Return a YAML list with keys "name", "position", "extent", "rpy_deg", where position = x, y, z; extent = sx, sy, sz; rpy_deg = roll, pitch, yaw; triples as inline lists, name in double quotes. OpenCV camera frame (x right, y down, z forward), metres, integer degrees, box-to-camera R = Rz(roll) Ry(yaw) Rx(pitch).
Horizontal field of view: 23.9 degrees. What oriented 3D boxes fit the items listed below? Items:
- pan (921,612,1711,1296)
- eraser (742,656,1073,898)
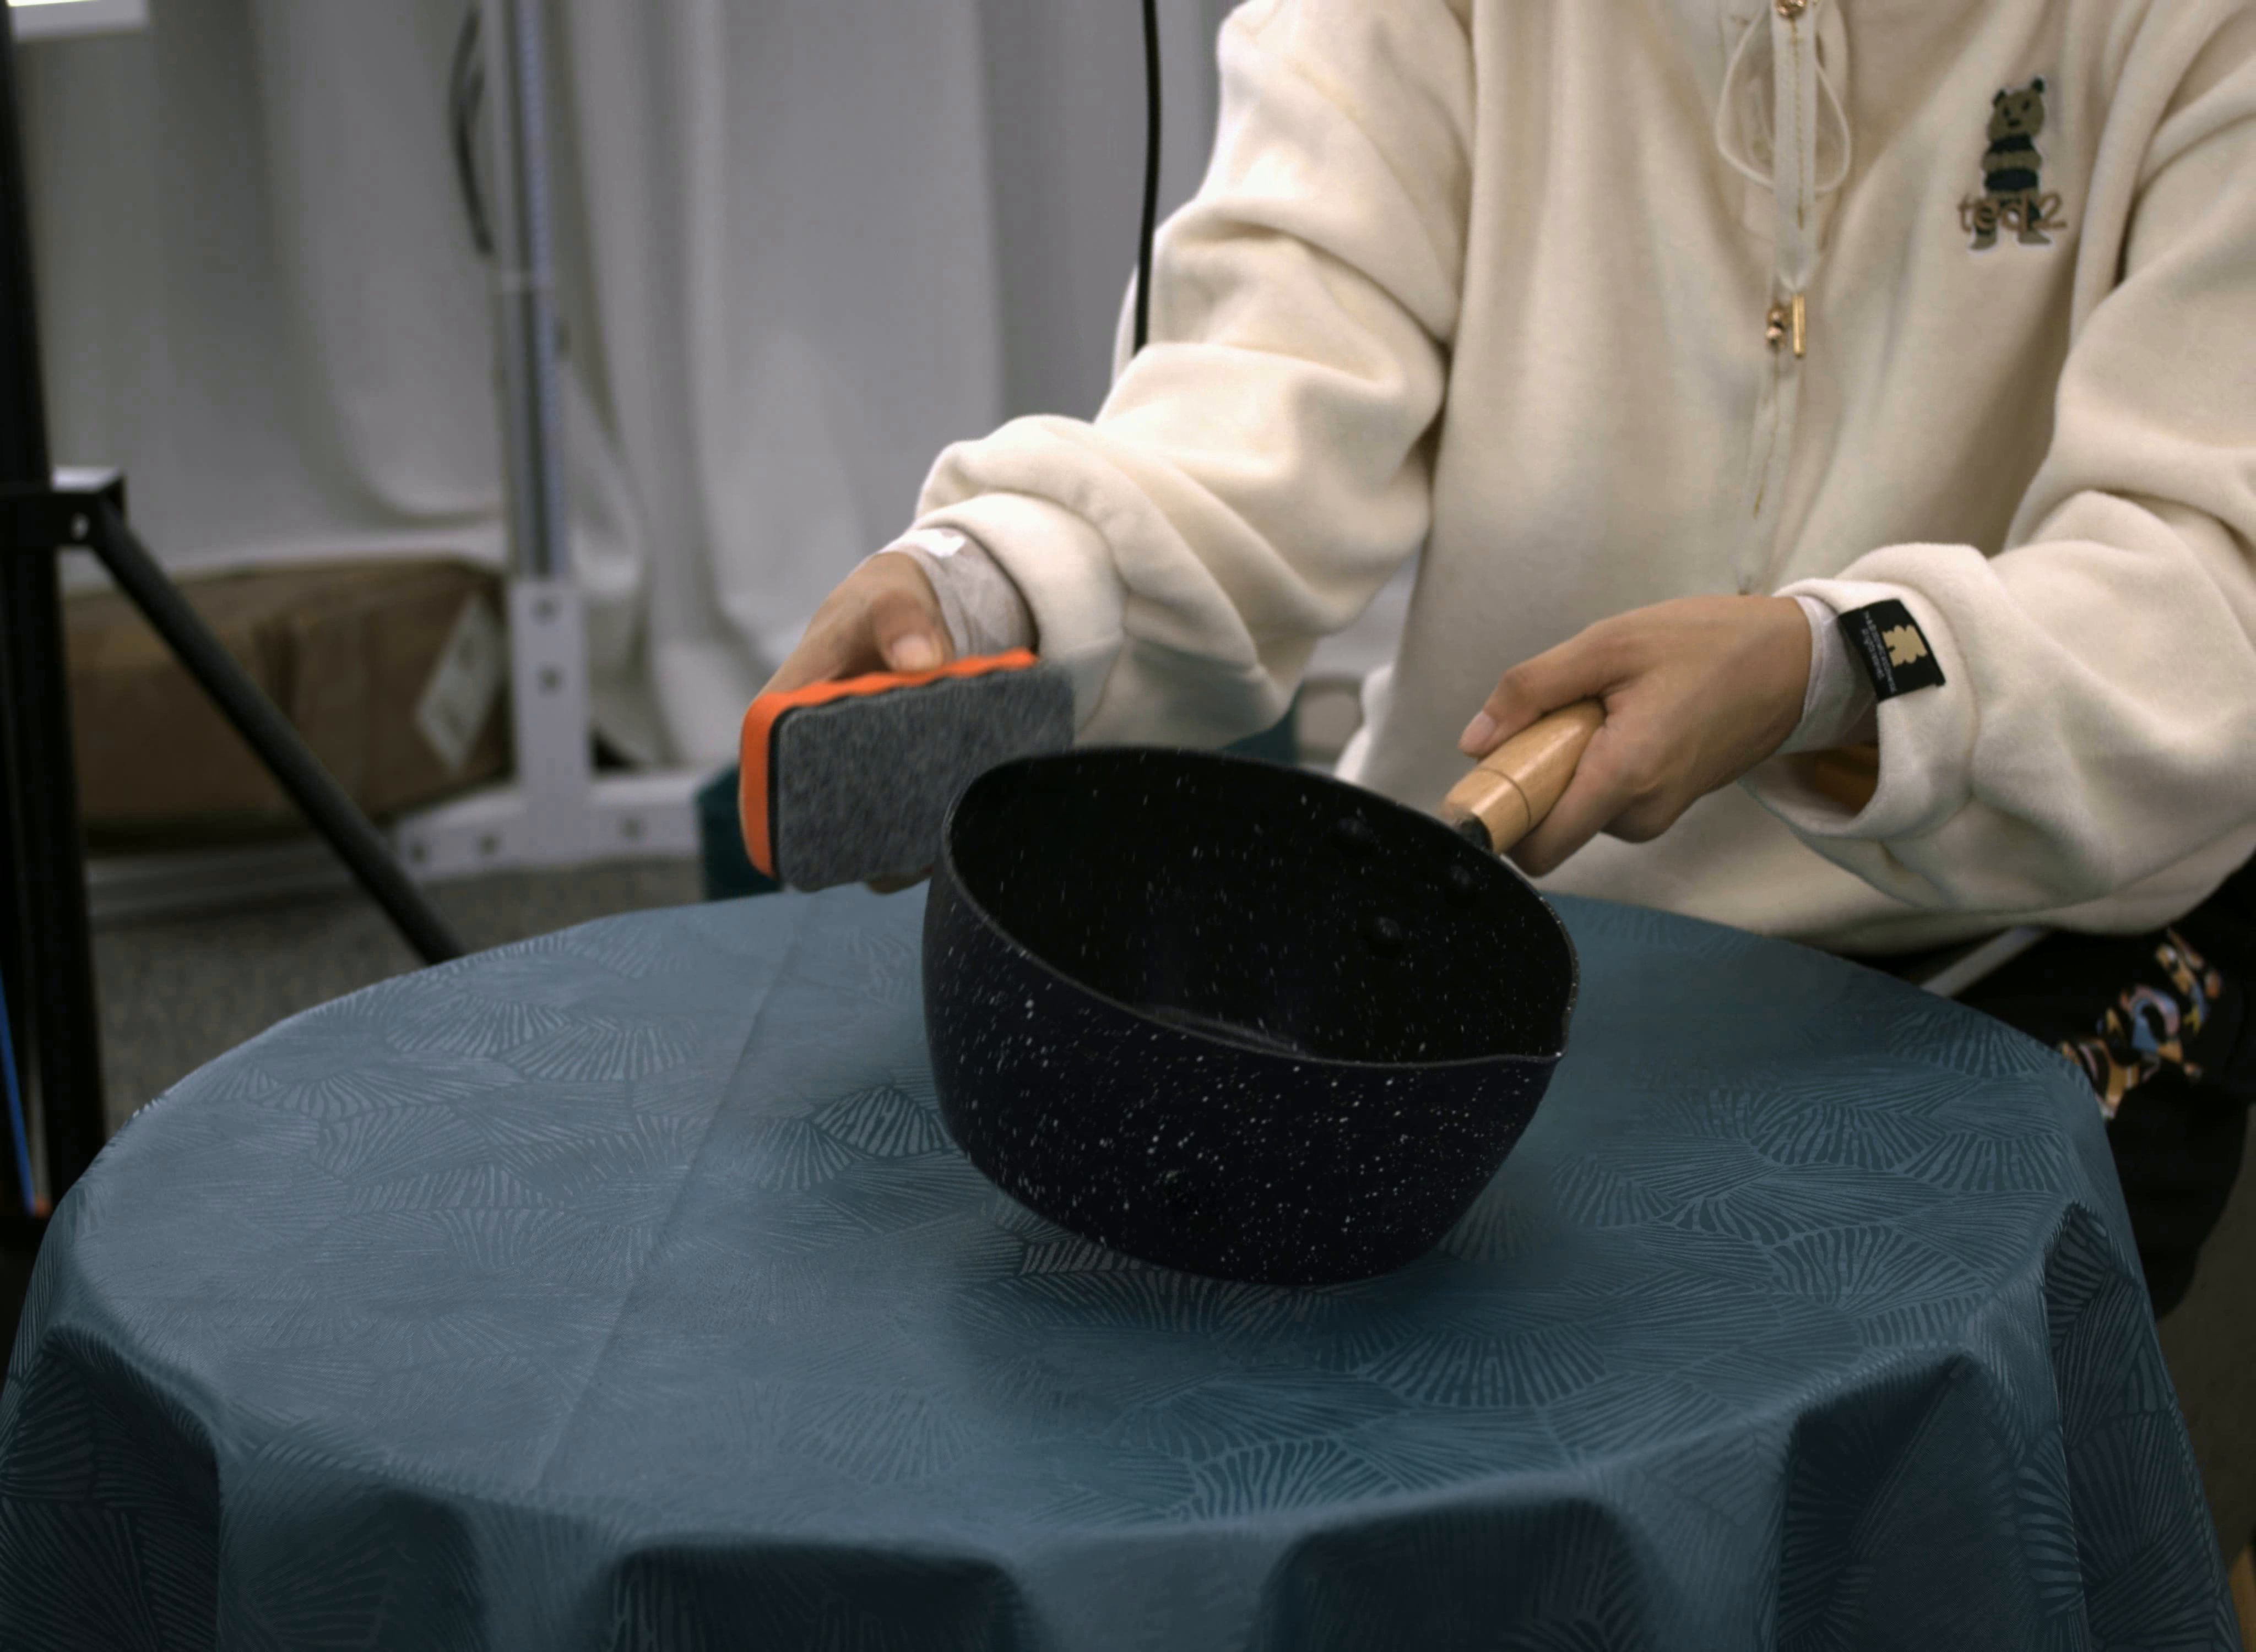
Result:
- name: "pan"
  position: [0.072, 0.026, 1.559]
  extent: [0.211, 0.108, 0.336]
  rpy_deg: [24, 29, 25]
- name: "eraser"
  position: [-0.066, -0.015, 1.619]
  extent: [0.105, 0.059, 0.023]
  rpy_deg: [-11, 21, -33]
